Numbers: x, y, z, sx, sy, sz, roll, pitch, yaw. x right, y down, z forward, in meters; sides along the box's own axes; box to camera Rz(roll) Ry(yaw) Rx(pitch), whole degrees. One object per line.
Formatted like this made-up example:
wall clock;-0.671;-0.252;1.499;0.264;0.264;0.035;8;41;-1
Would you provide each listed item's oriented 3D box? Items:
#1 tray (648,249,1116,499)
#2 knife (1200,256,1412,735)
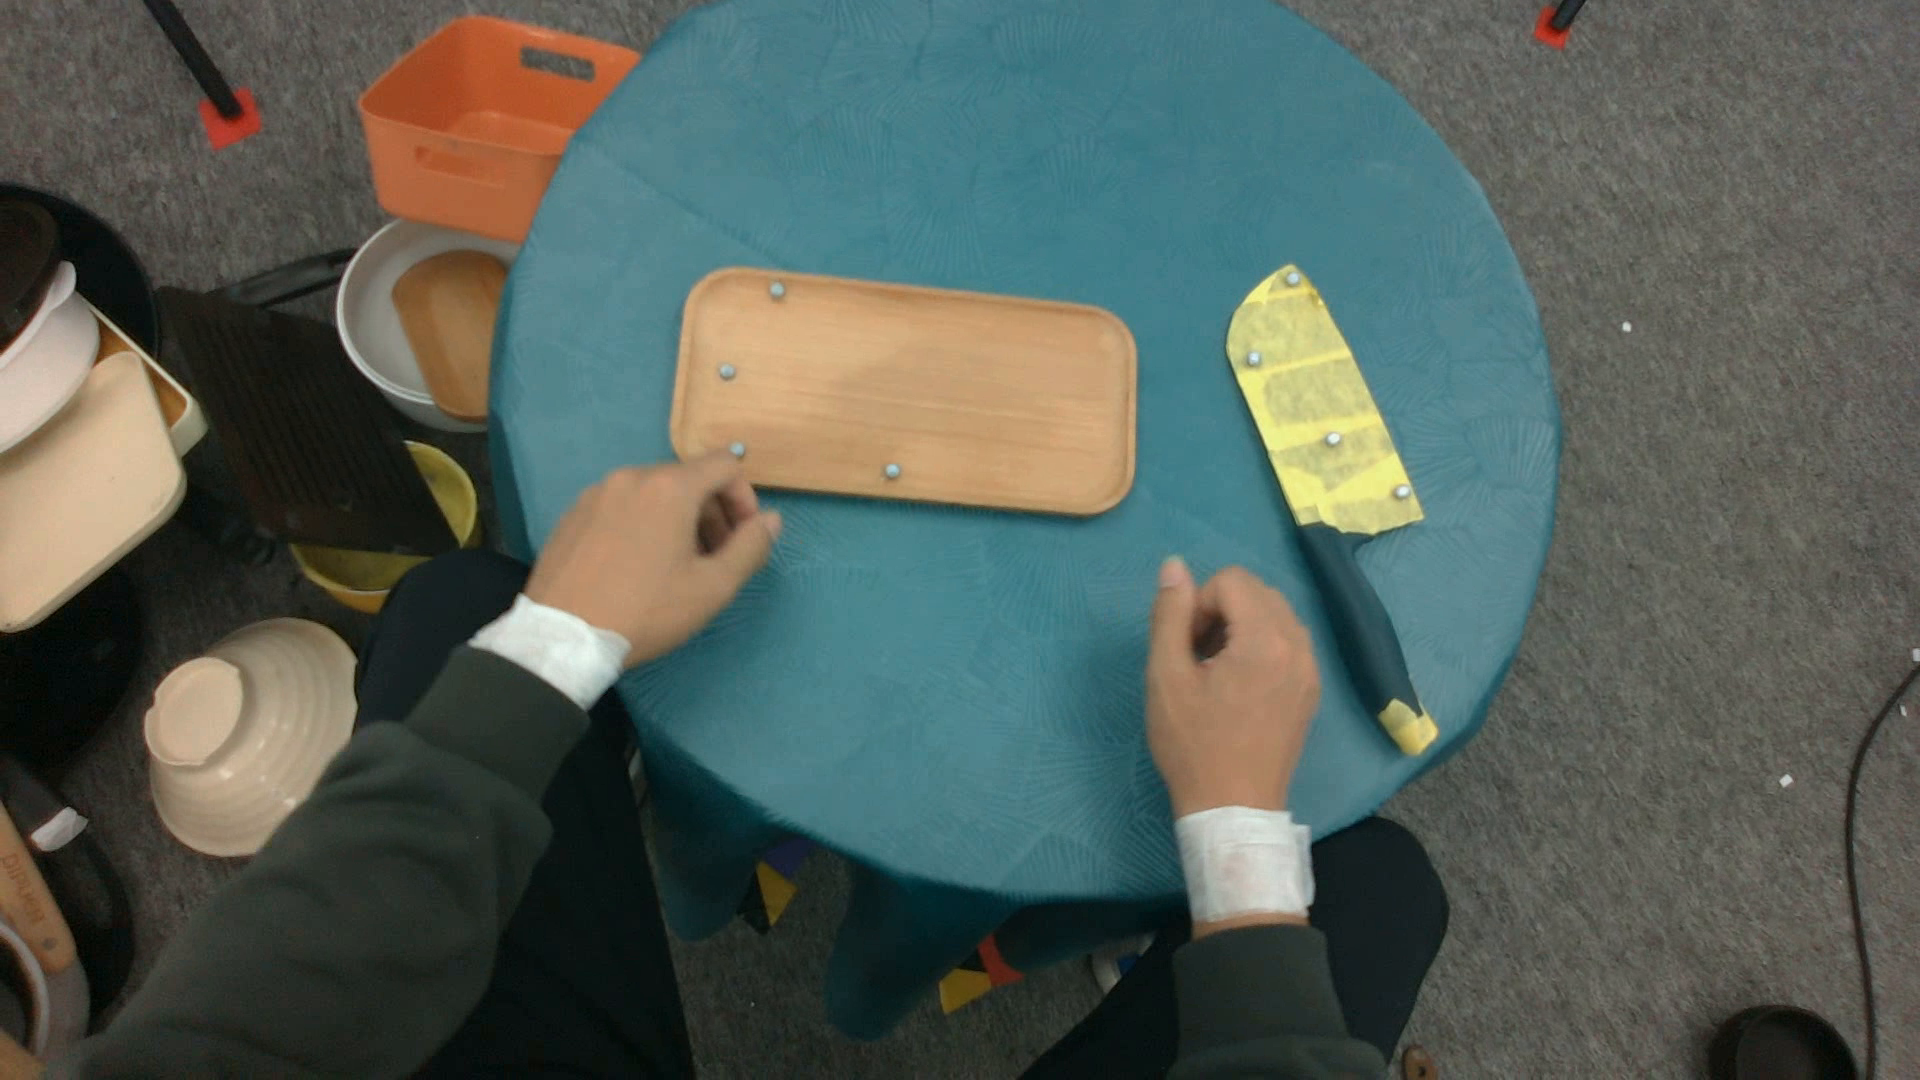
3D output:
tray;-0.039;-0.090;0.751;0.251;0.023;0.131;5;74;-7
knife;0.202;-0.034;0.770;0.081;0.027;0.290;-12;73;-11
